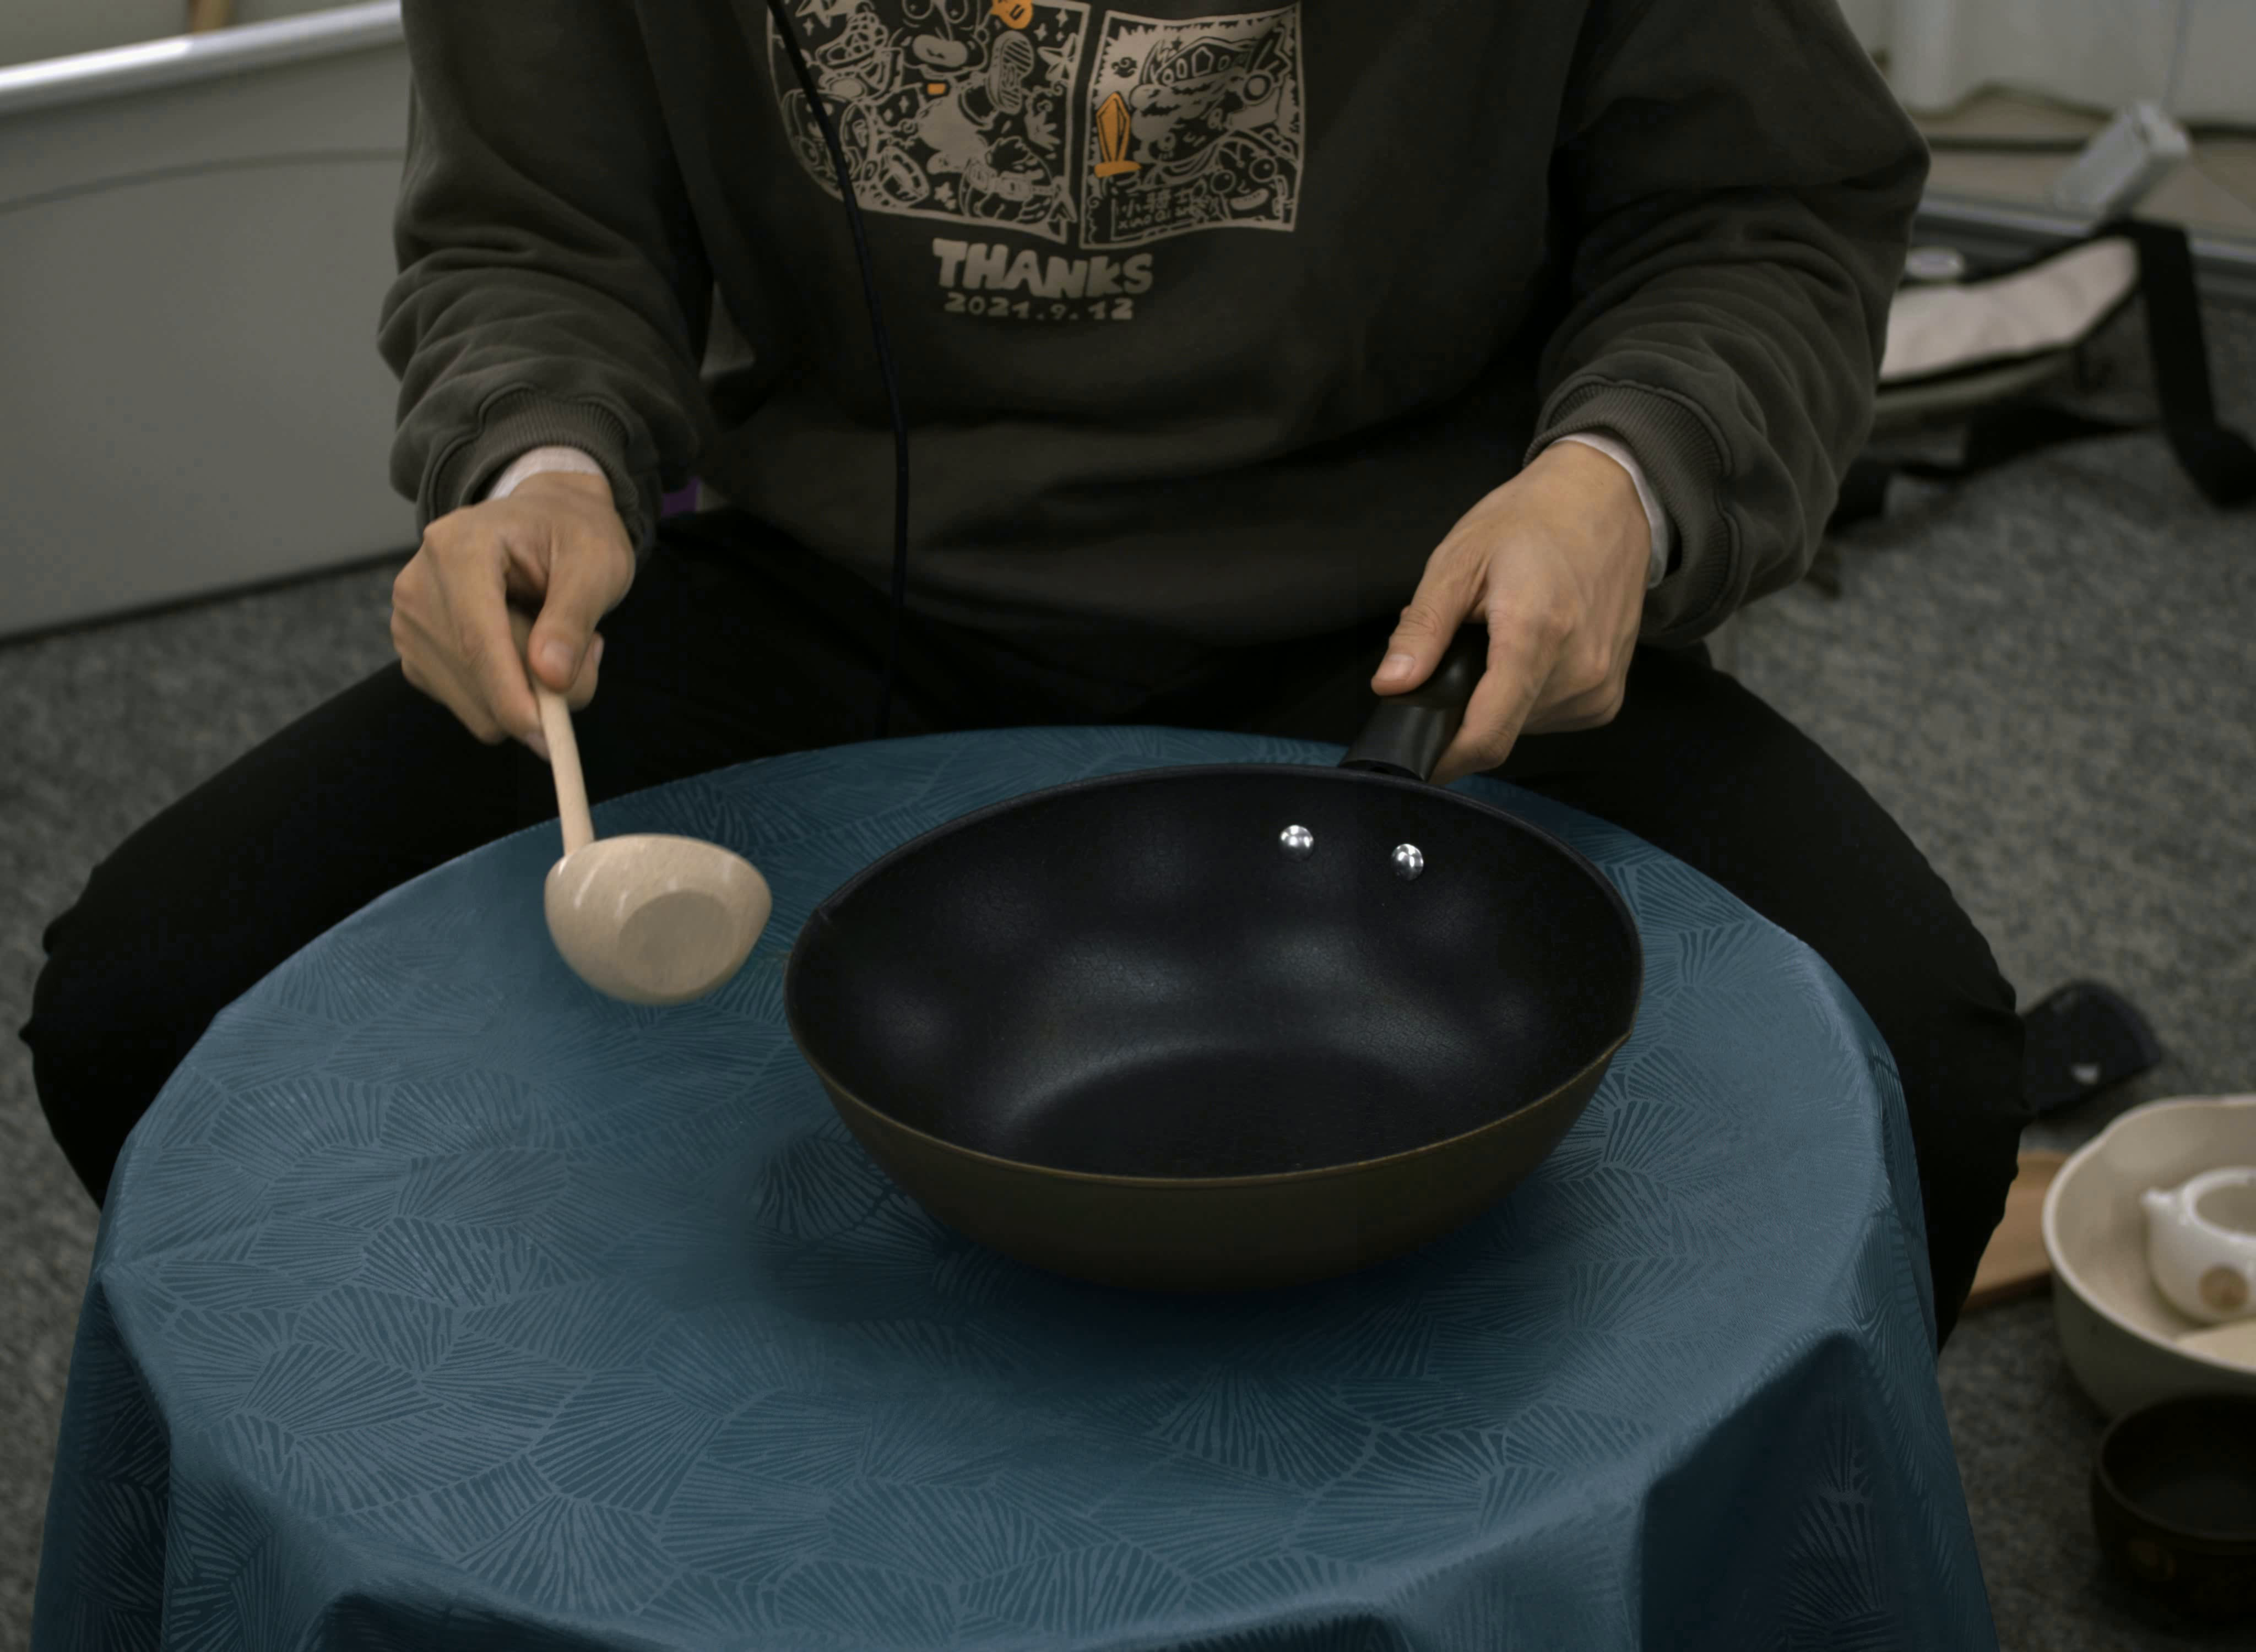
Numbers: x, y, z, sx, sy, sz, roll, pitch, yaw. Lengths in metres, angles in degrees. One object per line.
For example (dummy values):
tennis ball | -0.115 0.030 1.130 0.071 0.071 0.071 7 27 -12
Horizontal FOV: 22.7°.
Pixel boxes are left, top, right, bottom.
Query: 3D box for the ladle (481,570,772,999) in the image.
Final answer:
ladle | -0.174 -0.038 1.887 0.072 0.072 0.258 23 27 -30

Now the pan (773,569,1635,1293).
pan | 0.062 0.037 1.928 0.286 0.086 0.471 8 29 21
